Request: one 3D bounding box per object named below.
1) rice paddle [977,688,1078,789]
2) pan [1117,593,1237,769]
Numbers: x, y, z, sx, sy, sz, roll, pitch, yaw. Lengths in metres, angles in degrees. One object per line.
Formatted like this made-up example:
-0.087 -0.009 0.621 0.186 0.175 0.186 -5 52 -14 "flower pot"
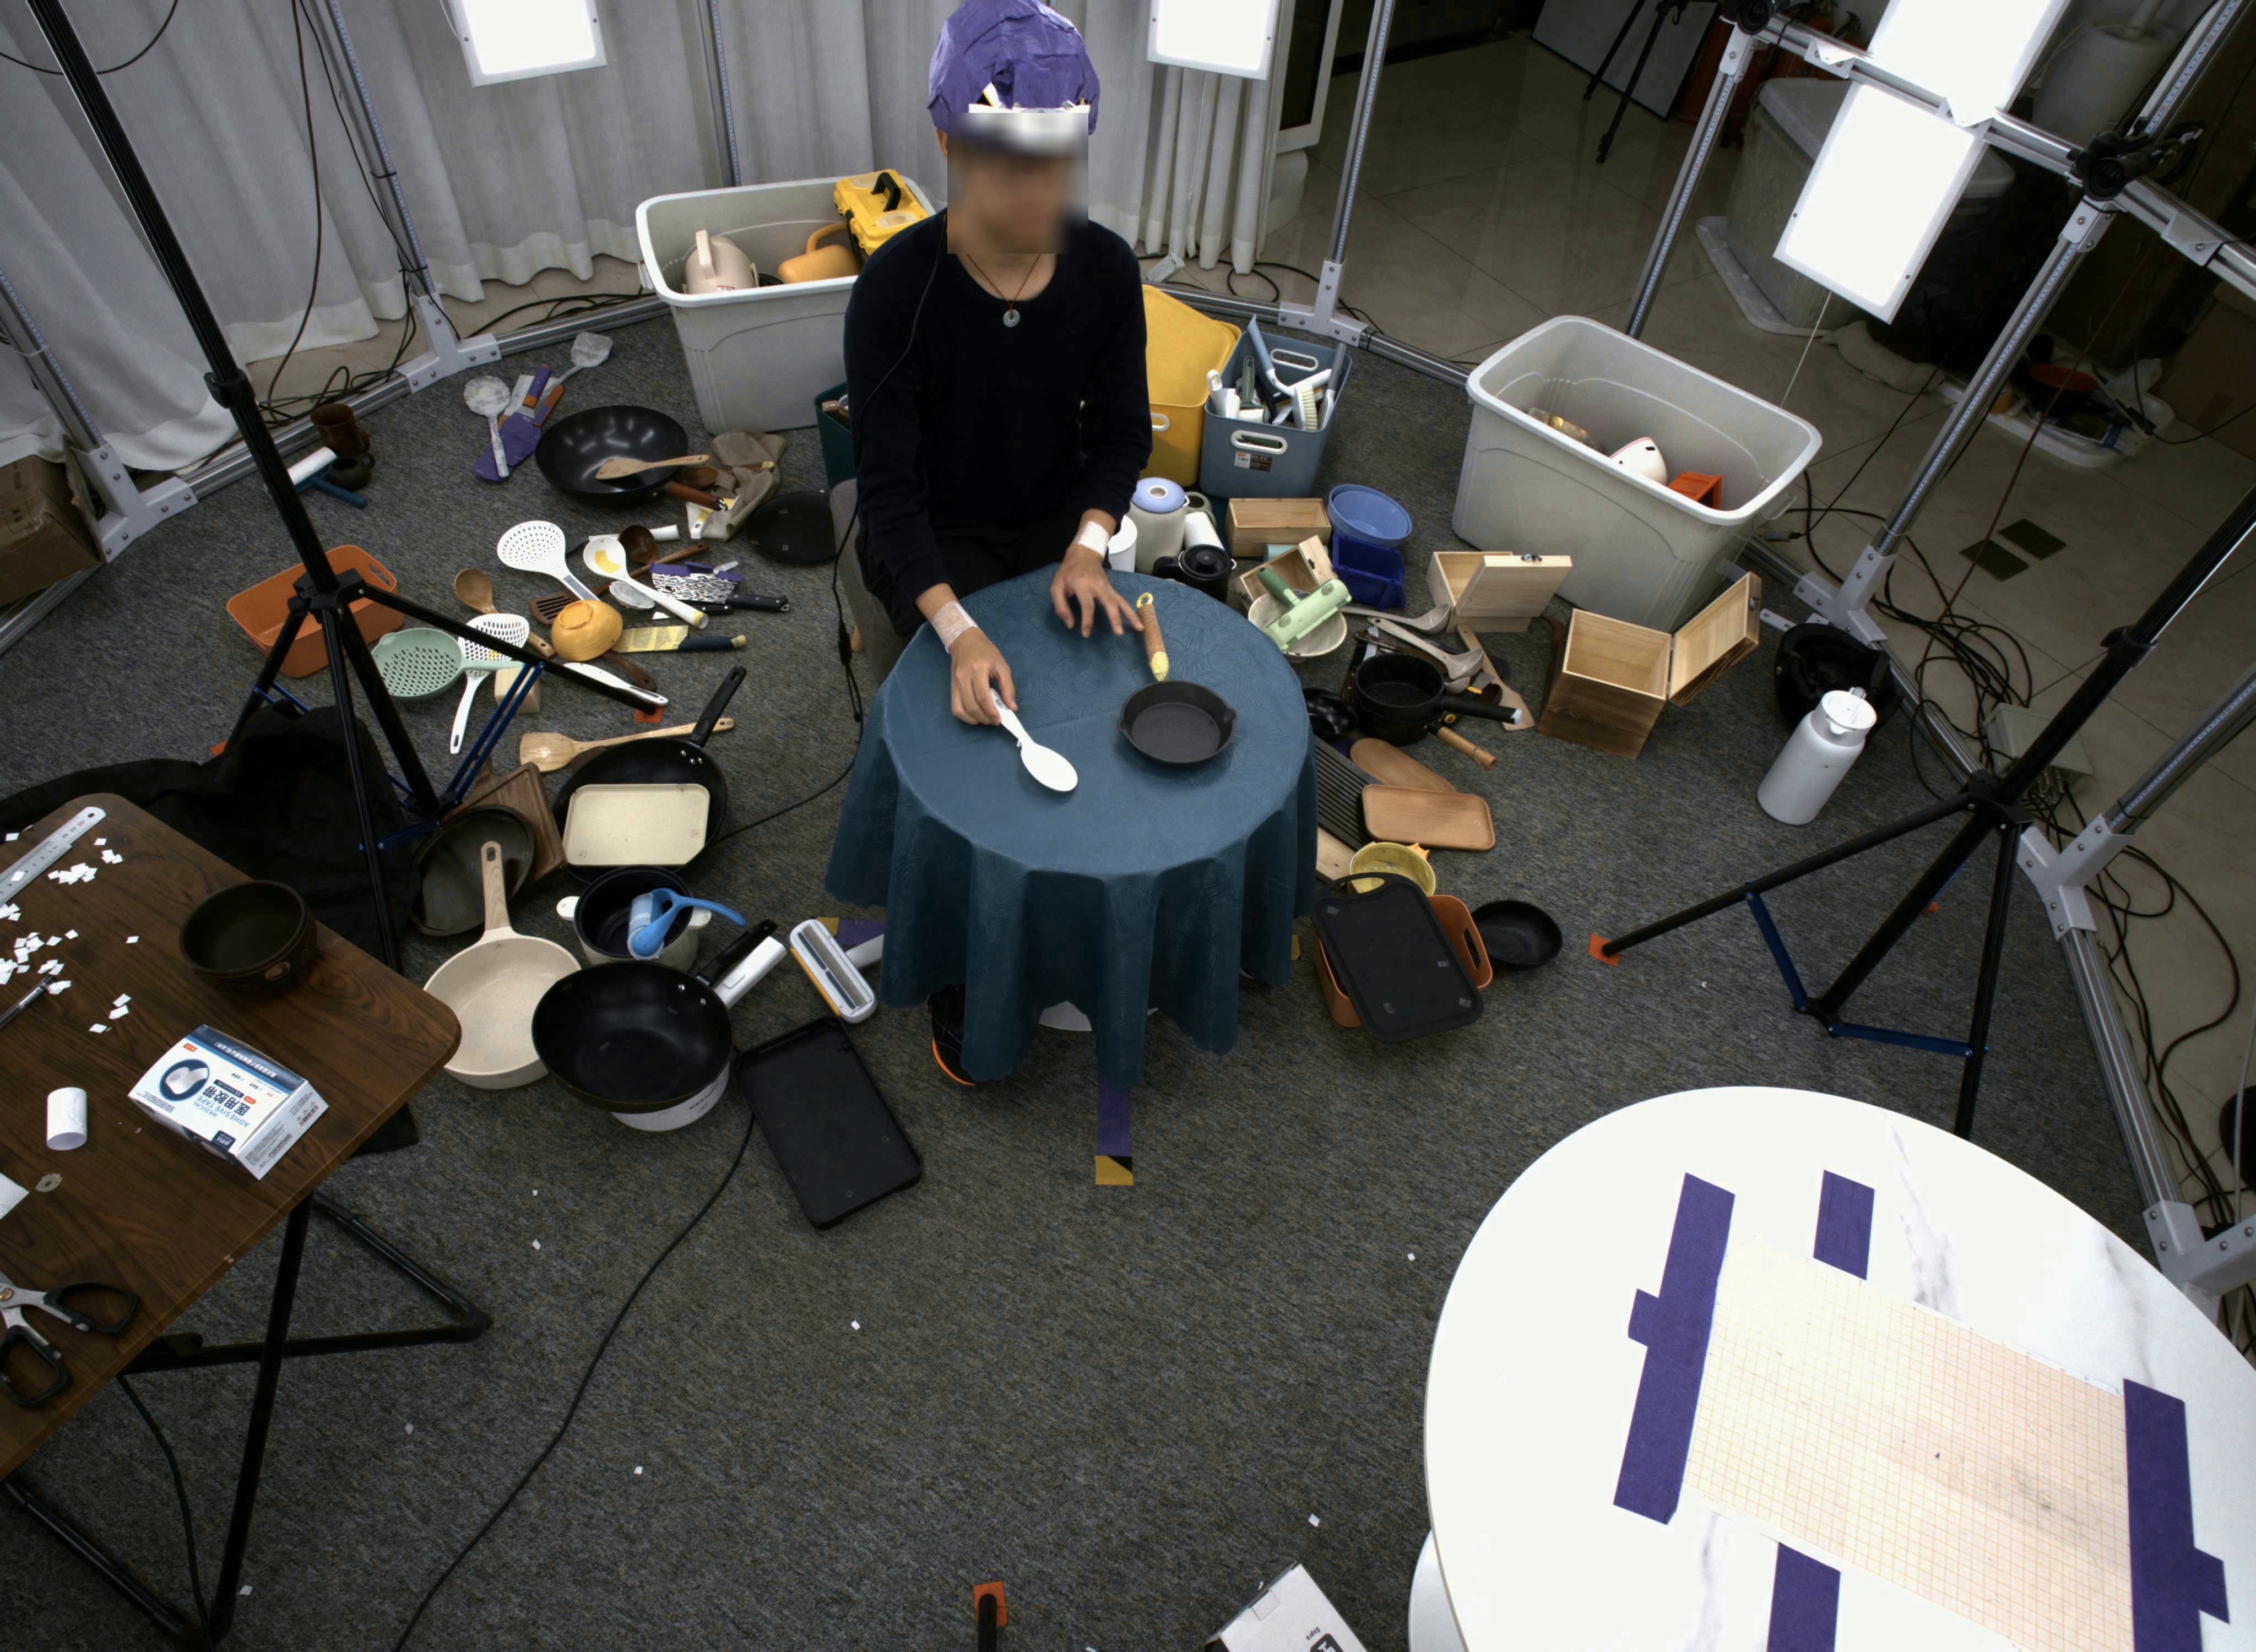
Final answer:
-0.137 -0.117 1.740 0.069 0.029 0.209 -12 47 -40 "rice paddle"
0.053 -0.207 1.819 0.169 0.048 0.332 -5 51 -8 "pan"
